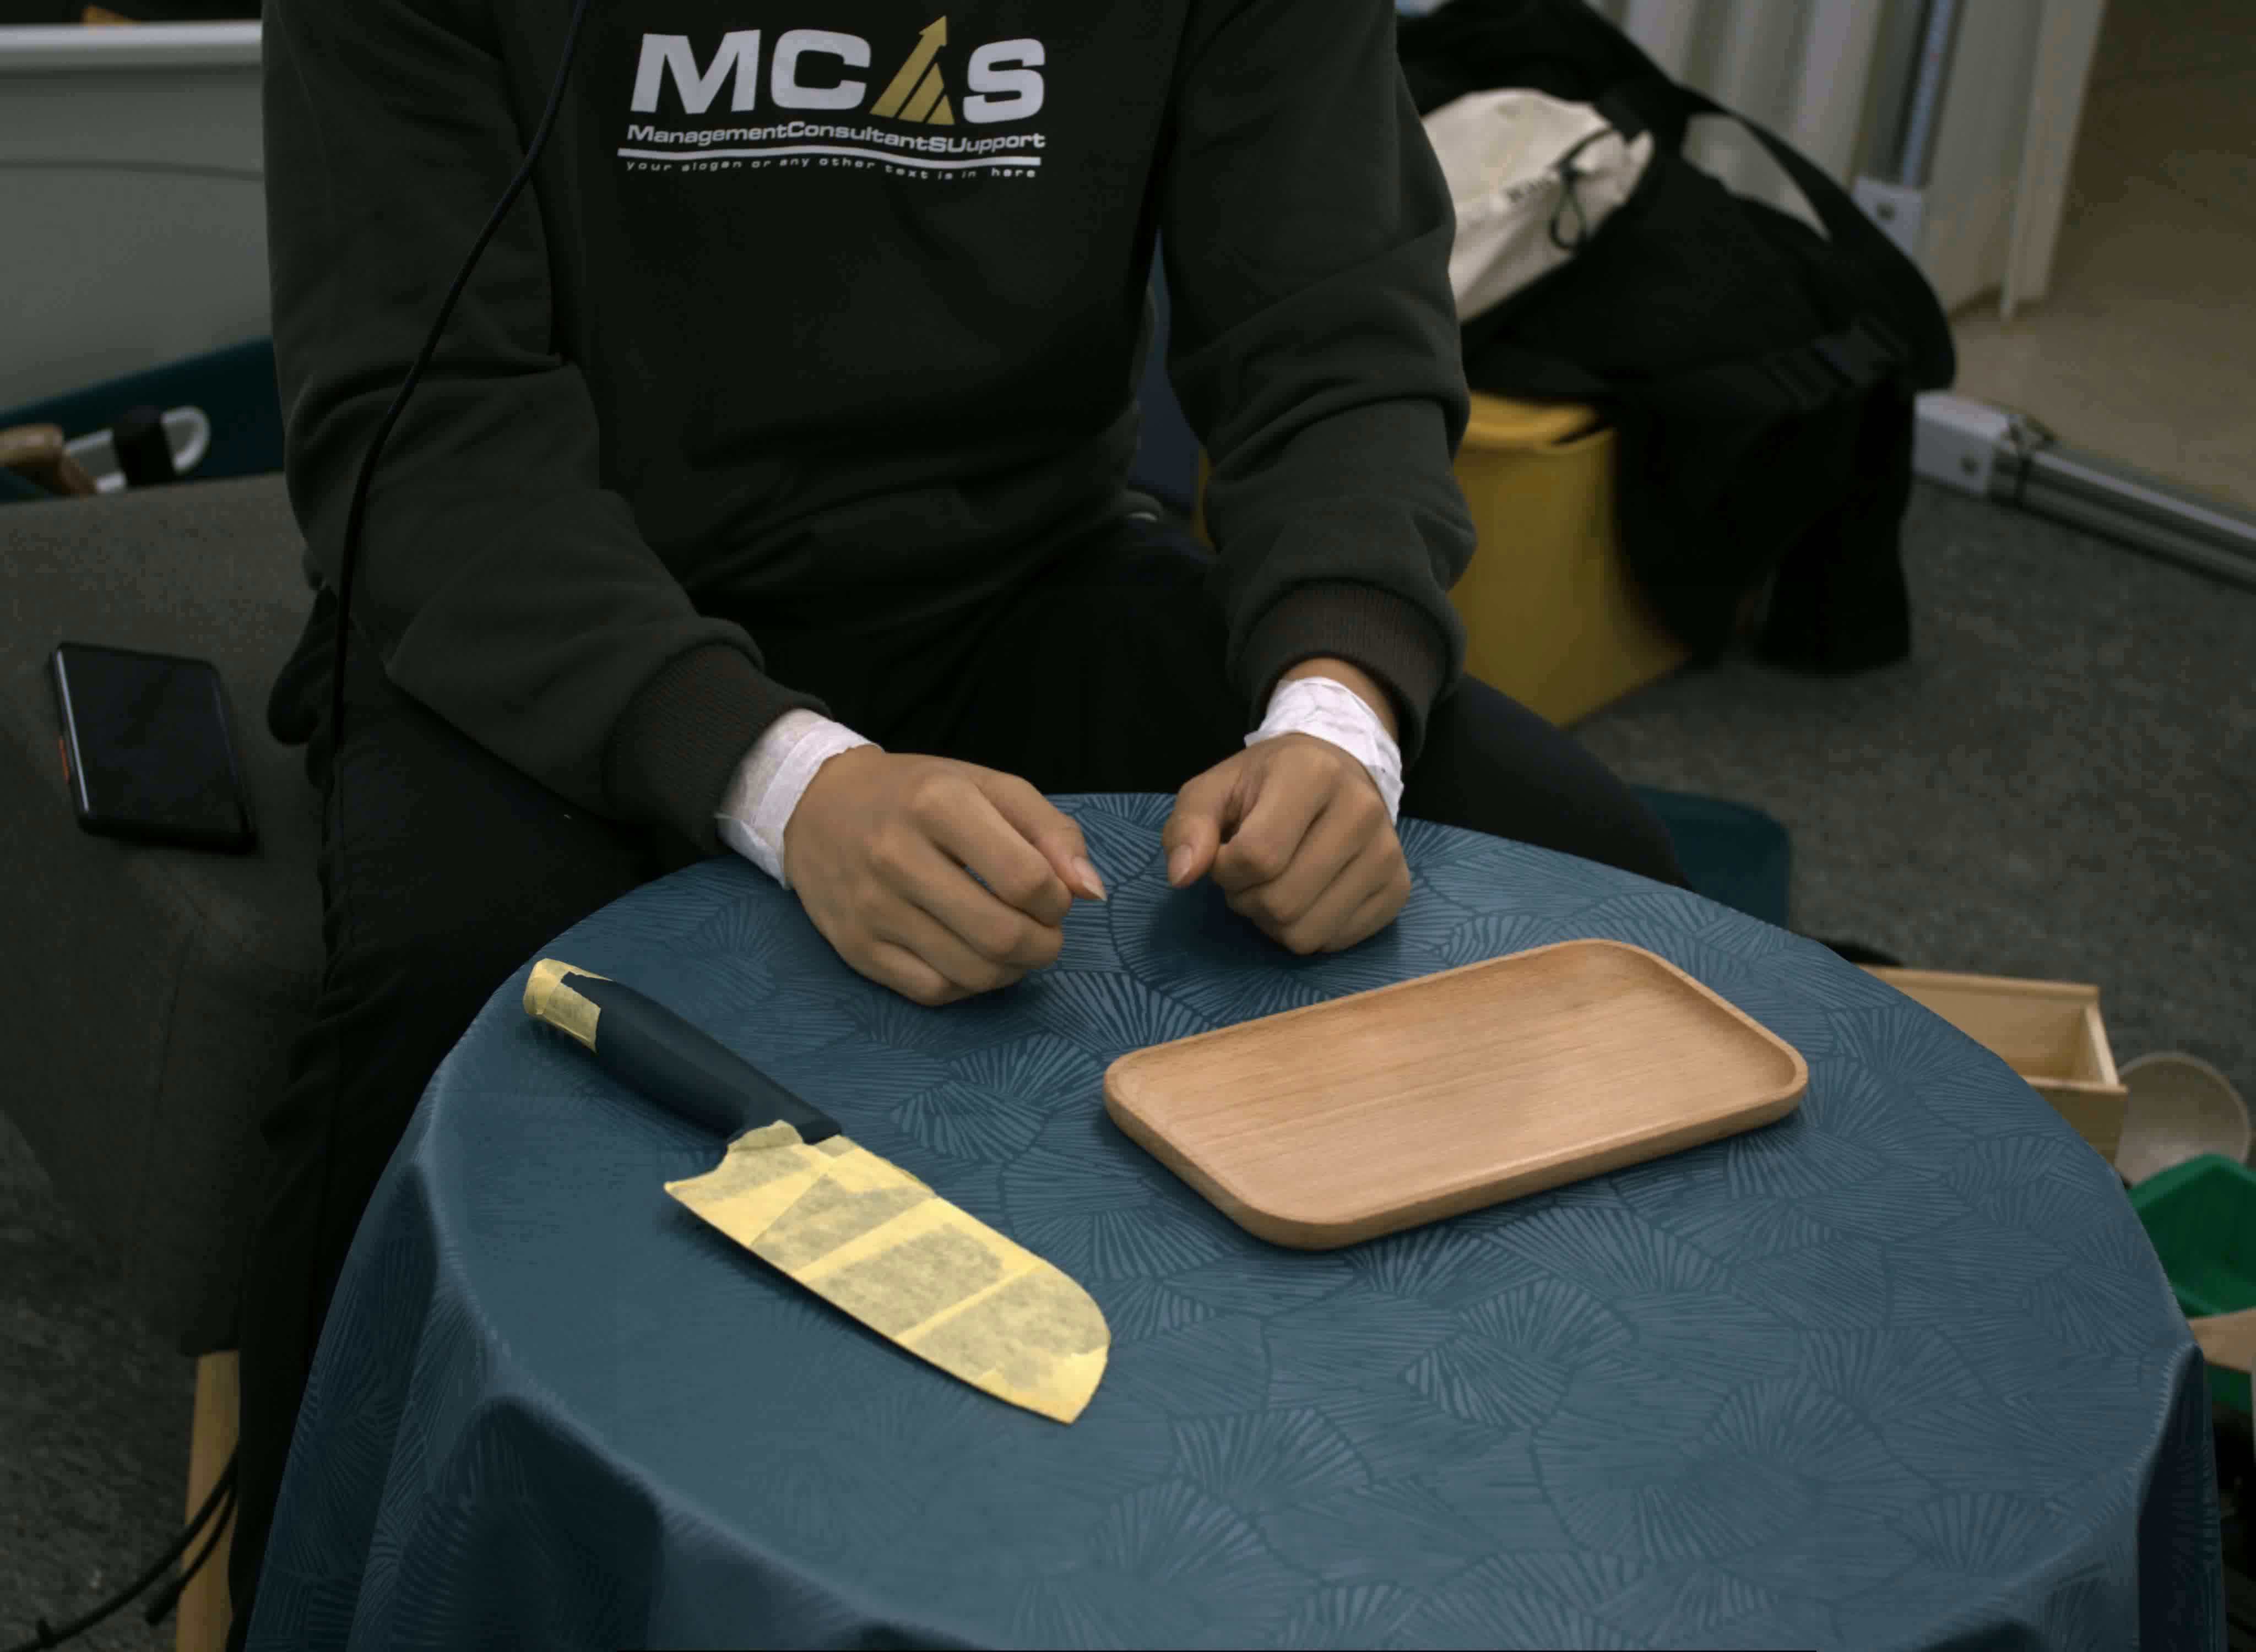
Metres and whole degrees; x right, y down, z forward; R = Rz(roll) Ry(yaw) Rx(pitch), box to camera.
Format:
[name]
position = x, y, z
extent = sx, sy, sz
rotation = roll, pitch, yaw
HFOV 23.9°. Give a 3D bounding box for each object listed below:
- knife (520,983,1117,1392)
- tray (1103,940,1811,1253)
[knife]
position = -0.112, 0.121, 1.770
extent = 0.292, 0.027, 0.080
rotation = 29, 33, 36
[tray]
position = 0.117, 0.094, 1.873
extent = 0.249, 0.023, 0.131
rotation = -13, 30, -33
